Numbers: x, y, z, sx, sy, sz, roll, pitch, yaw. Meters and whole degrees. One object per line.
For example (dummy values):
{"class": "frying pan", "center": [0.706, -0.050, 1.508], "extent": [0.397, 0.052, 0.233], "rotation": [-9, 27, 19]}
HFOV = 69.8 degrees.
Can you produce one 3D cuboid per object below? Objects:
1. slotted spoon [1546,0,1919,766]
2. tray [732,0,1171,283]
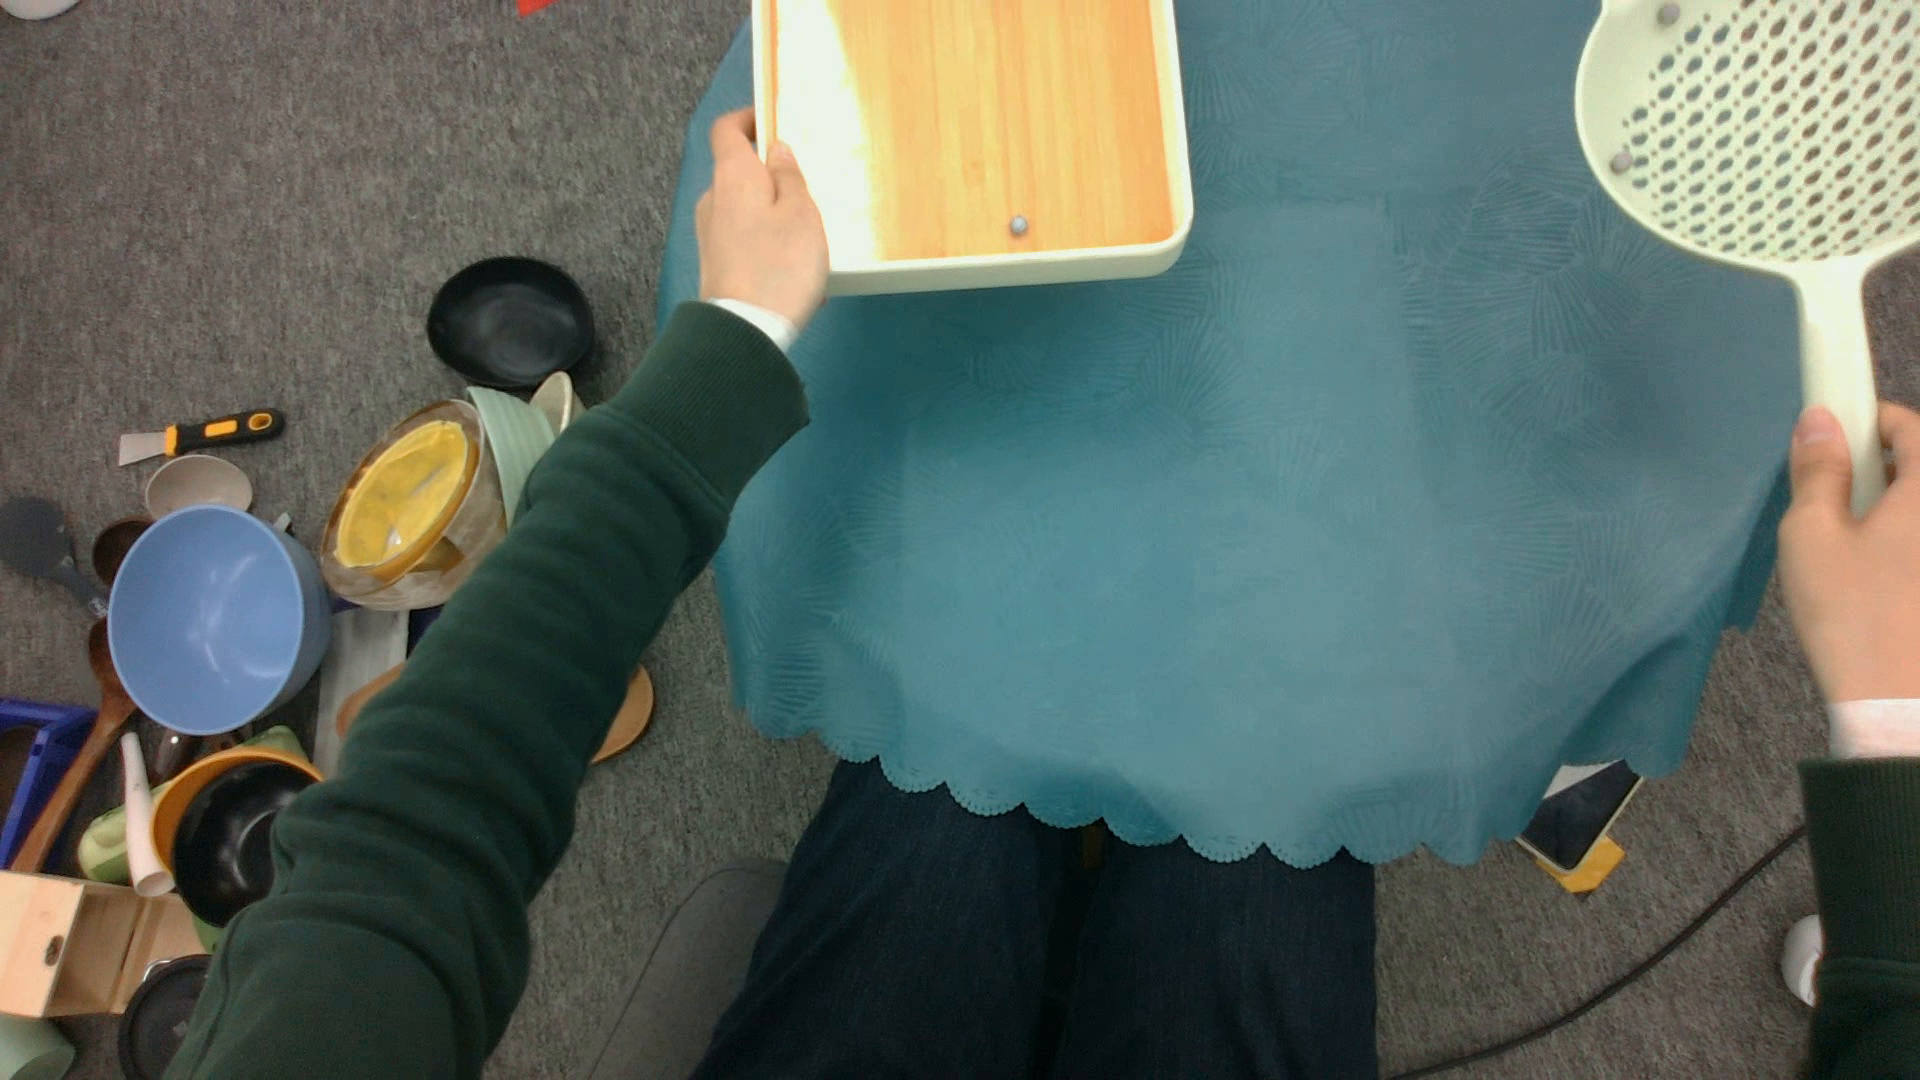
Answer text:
{"class": "slotted spoon", "center": [0.327, -0.096, 0.540], "extent": [0.169, 0.075, 0.360], "rotation": [-4, 62, 26]}
{"class": "tray", "center": [-0.011, -0.265, 0.651], "extent": [0.191, 0.027, 0.301], "rotation": [-3, 73, -1]}
